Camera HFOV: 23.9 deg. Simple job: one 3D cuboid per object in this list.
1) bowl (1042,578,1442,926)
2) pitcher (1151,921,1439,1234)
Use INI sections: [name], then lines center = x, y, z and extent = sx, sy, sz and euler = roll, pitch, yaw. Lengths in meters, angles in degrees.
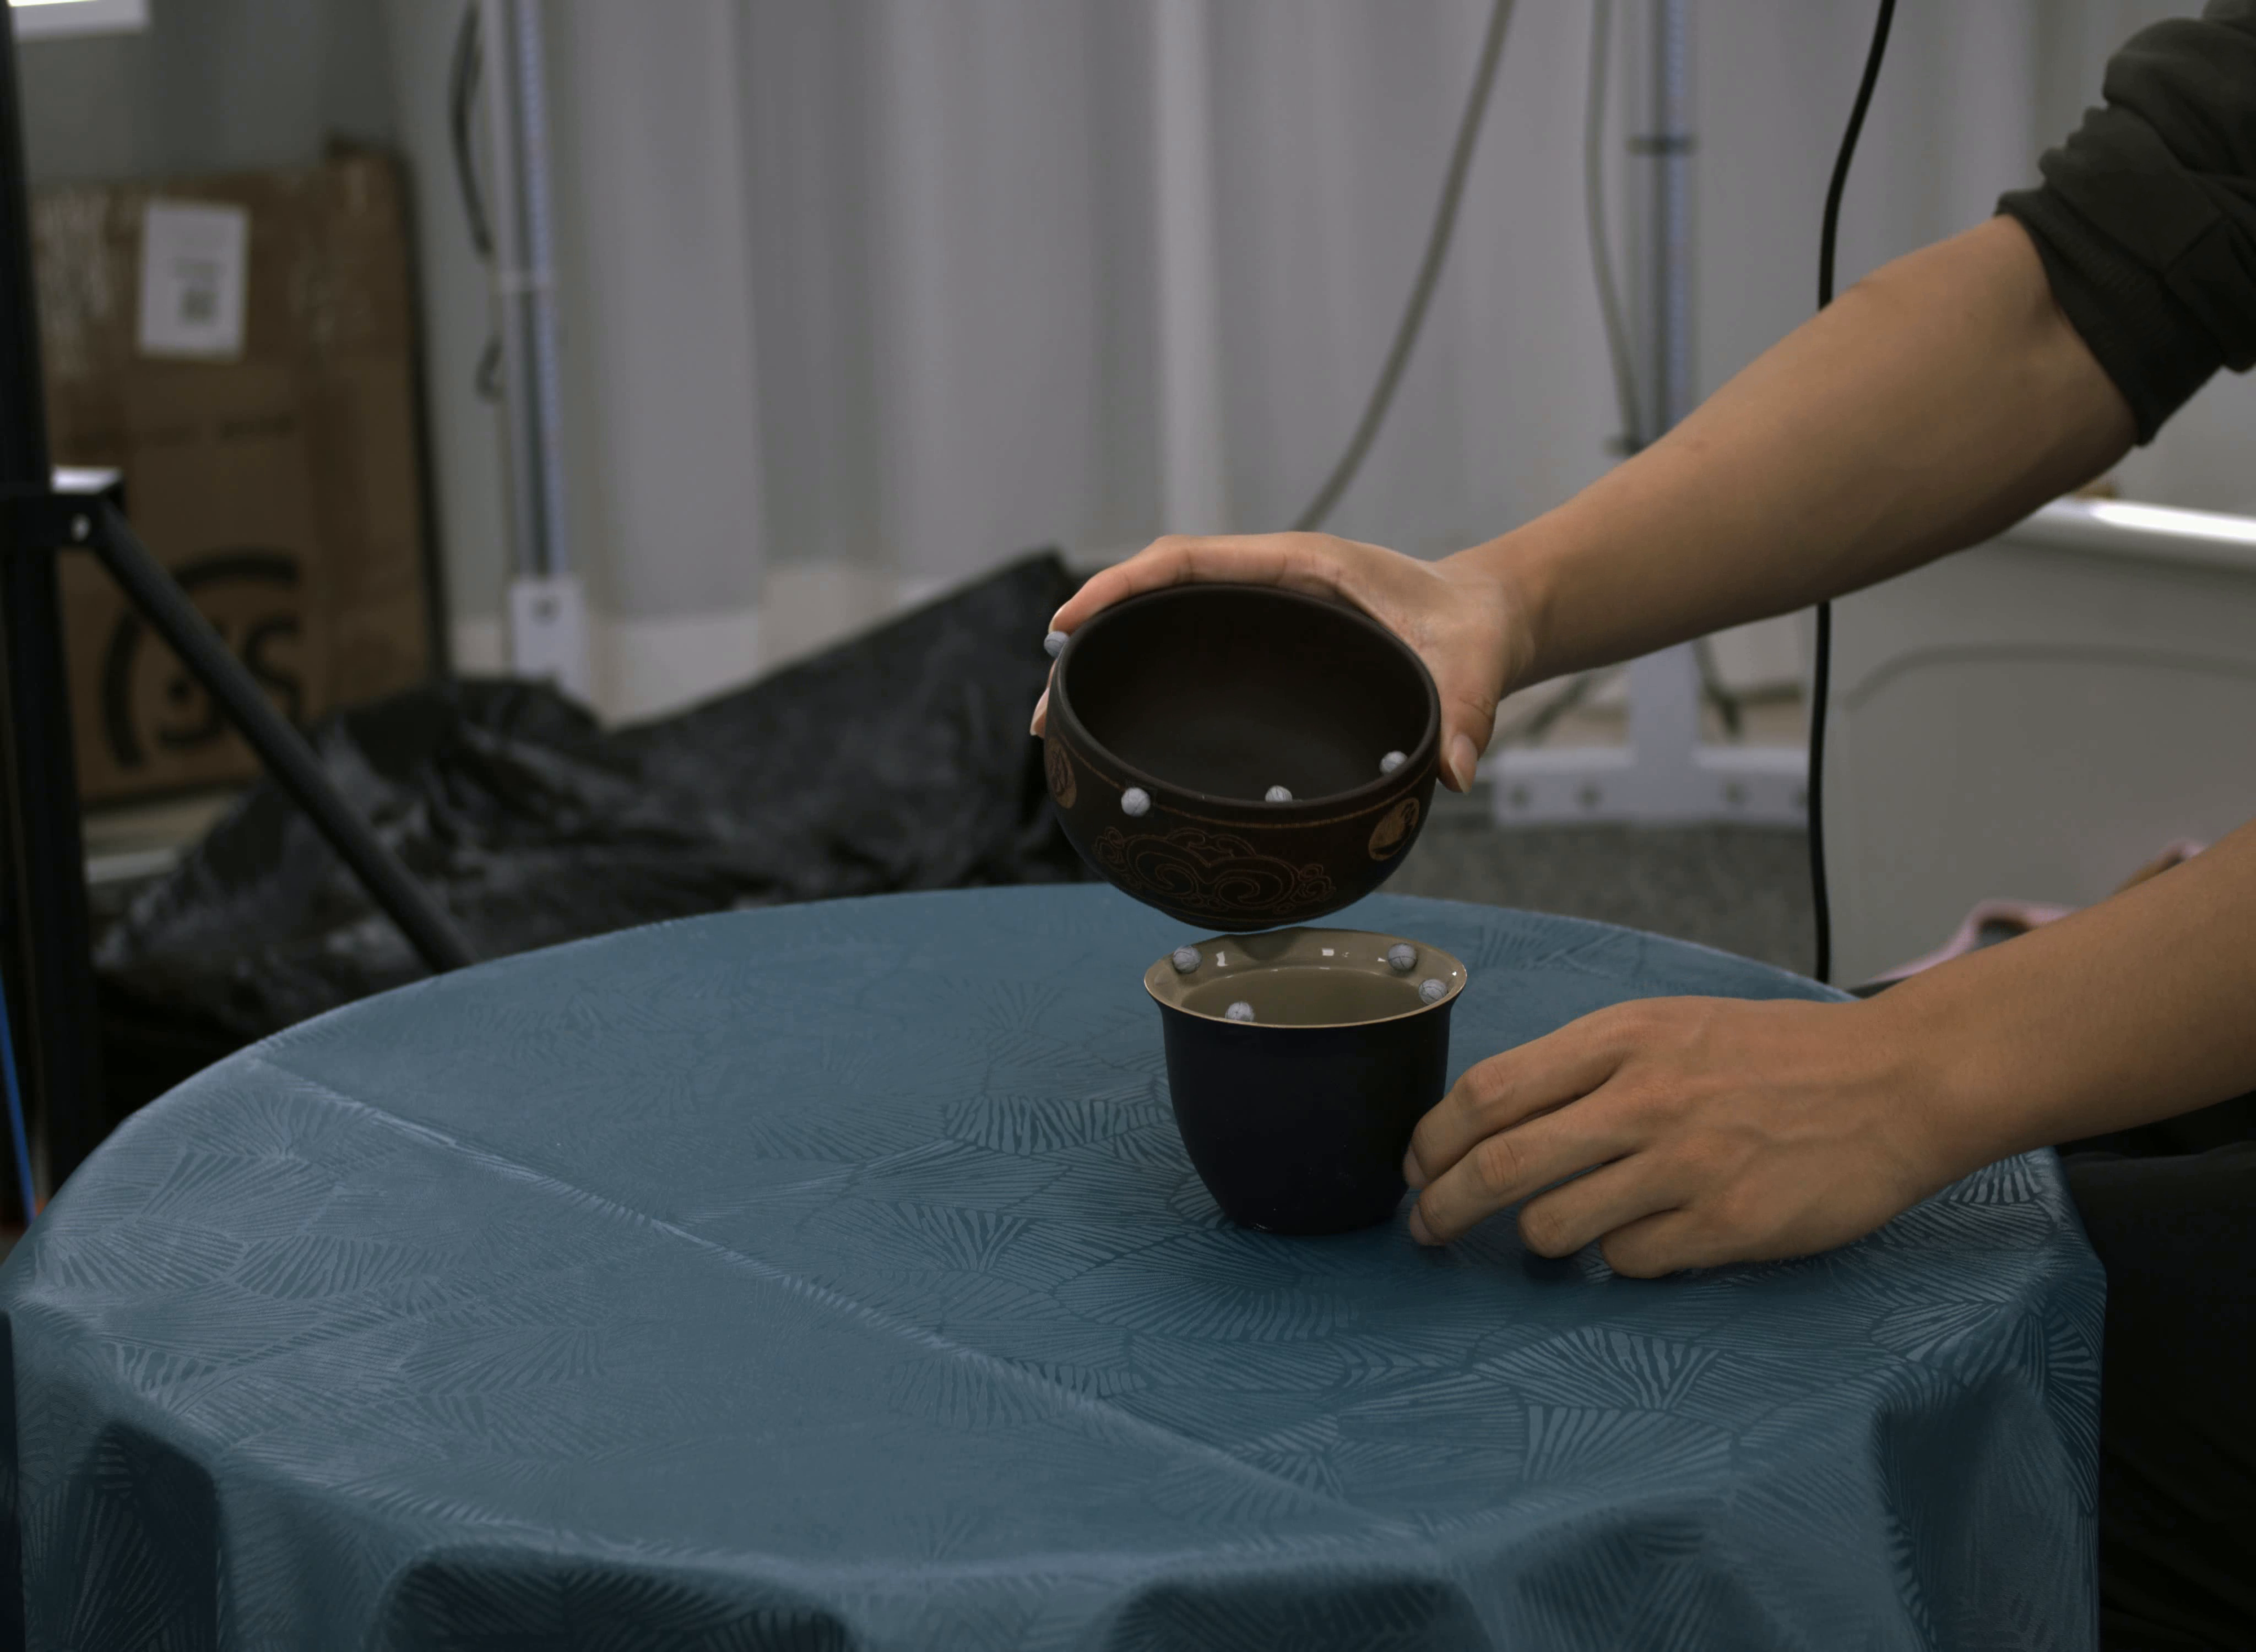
[bowl]
center = 0.032, -0.014, 1.581
extent = 0.117, 0.070, 0.119
euler = 4, 34, -4
[pitcher]
center = 0.049, 0.075, 1.535
extent = 0.083, 0.071, 0.097
euler = -5, 16, -5
